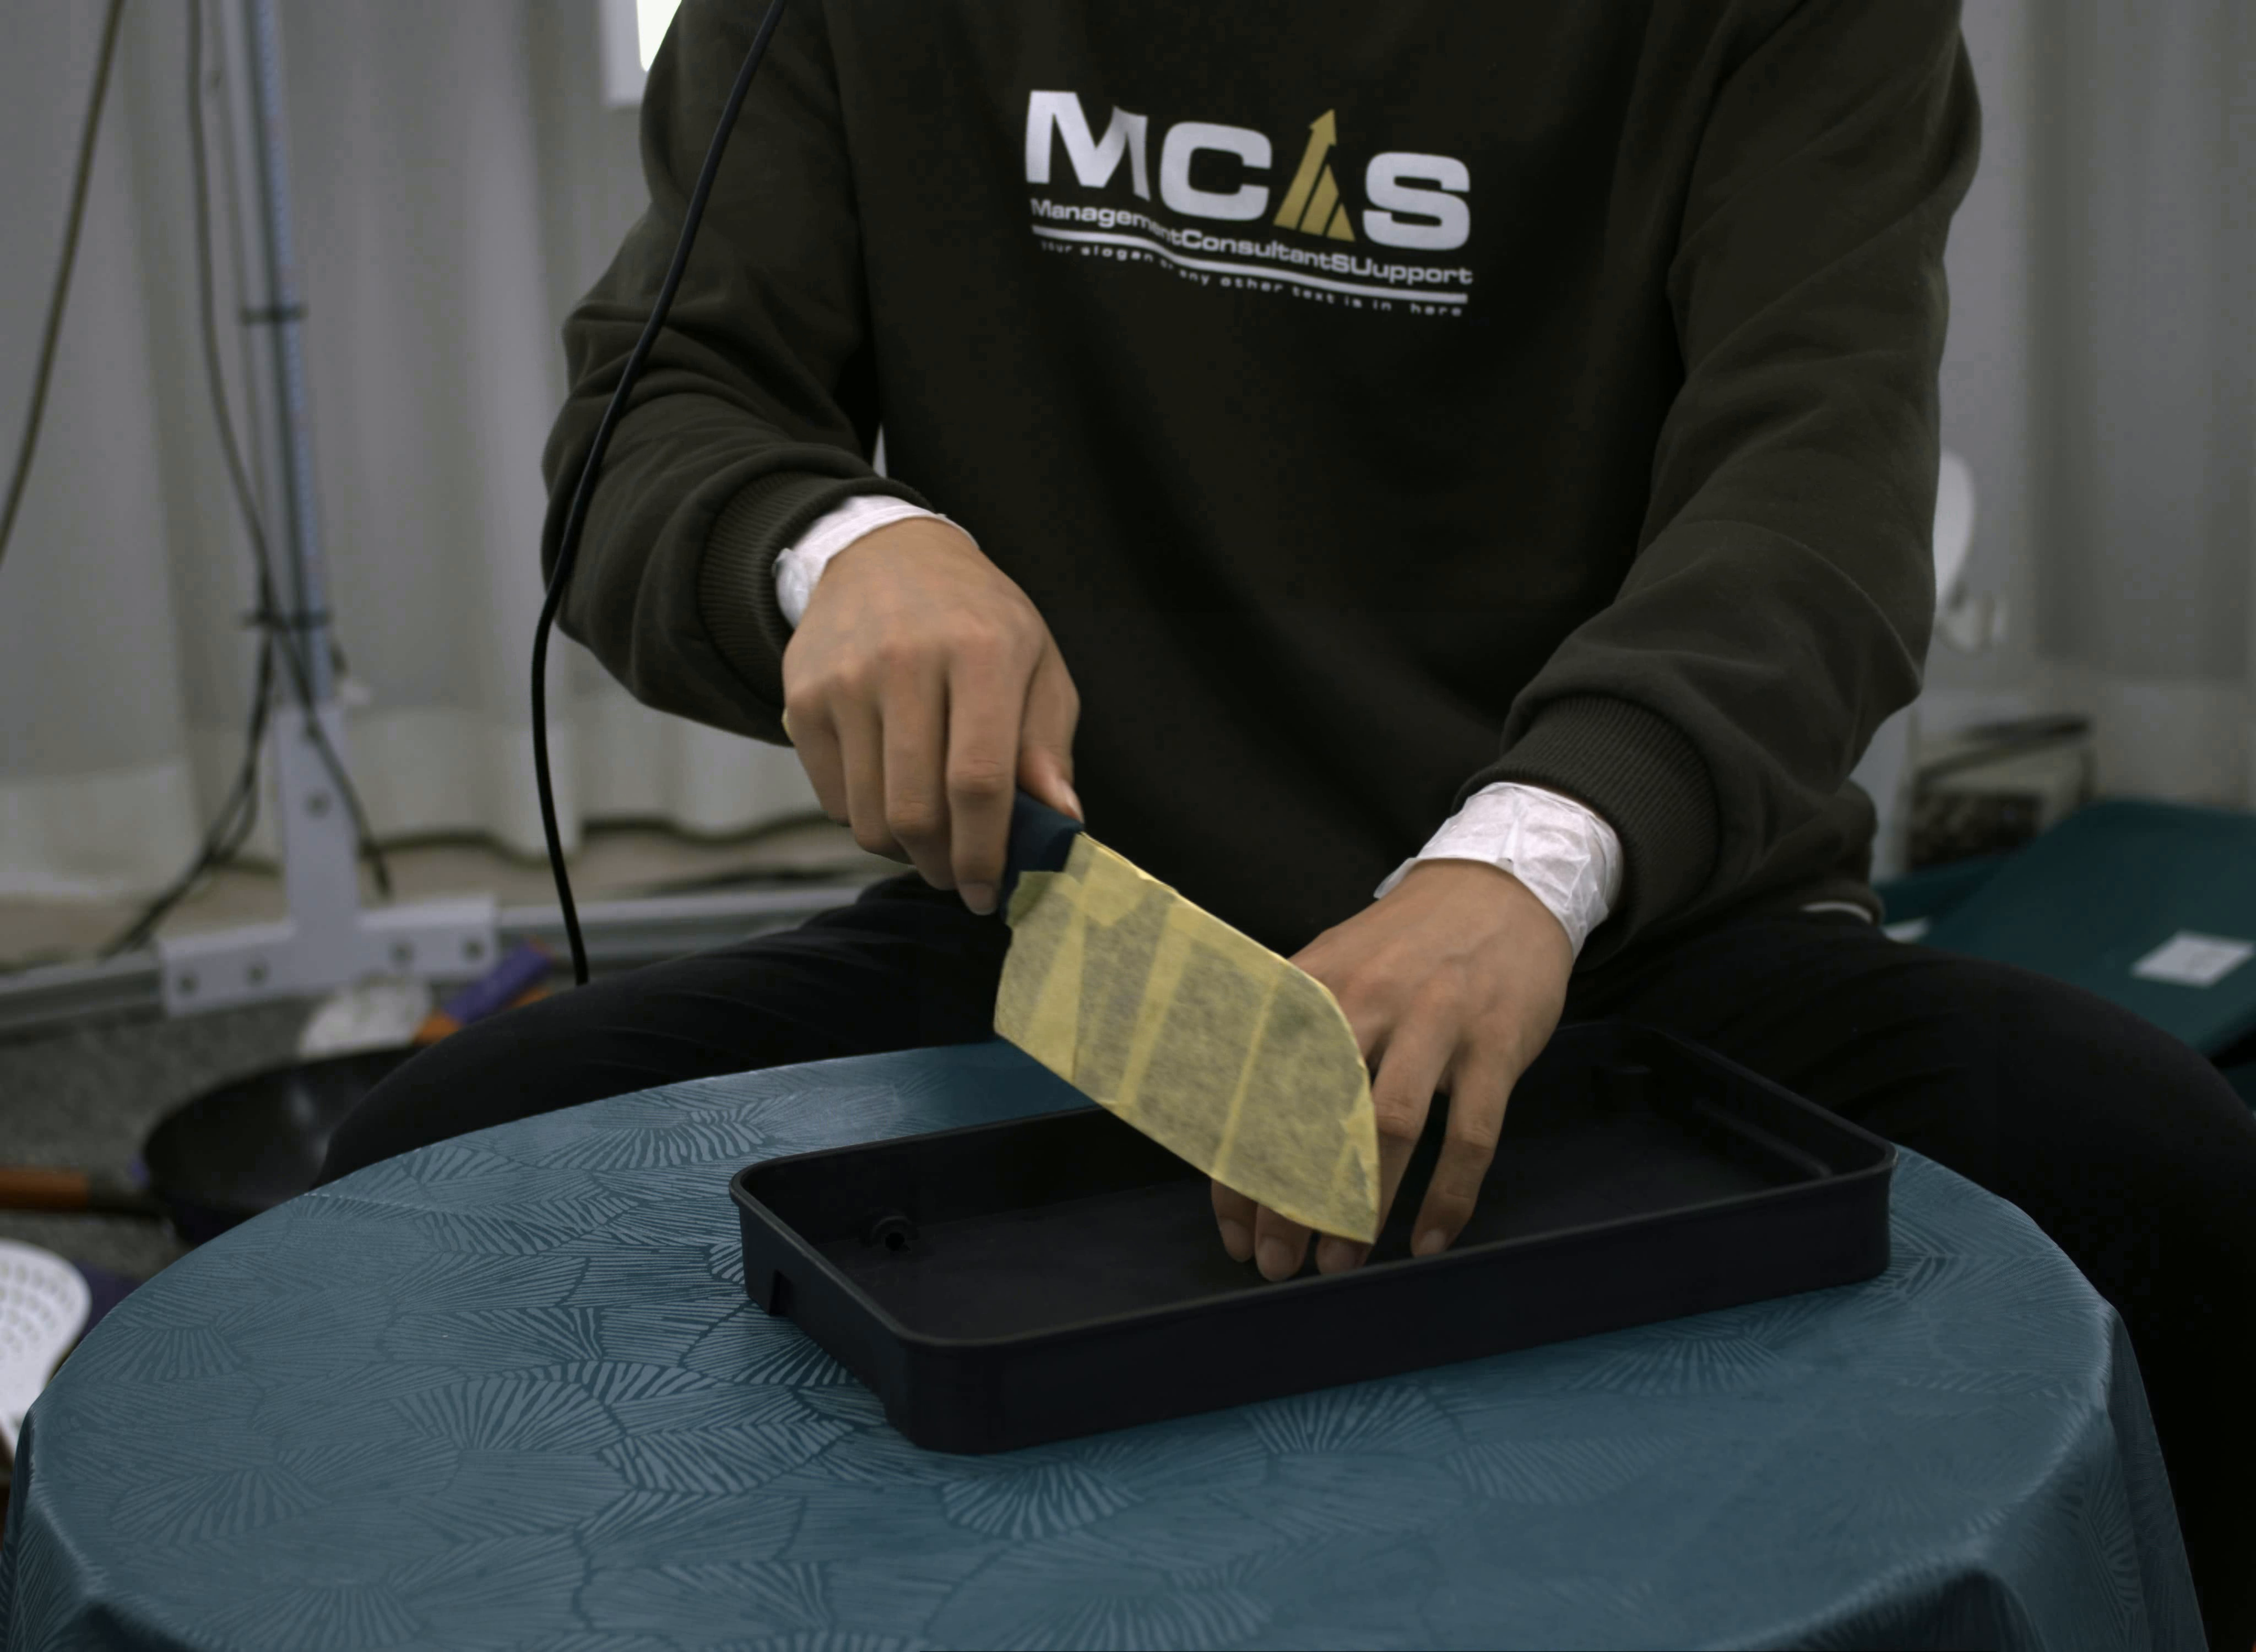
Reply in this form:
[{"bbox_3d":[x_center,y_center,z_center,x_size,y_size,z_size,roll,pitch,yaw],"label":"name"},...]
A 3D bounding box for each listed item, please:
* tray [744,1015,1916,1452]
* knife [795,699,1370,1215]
[{"bbox_3d":[0.060,0.117,1.630,0.316,0.037,0.185,-9,15,-23],"label":"tray"},{"bbox_3d":[-0.018,0.036,1.660,0.027,0.081,0.293,5,22,-42],"label":"knife"}]
